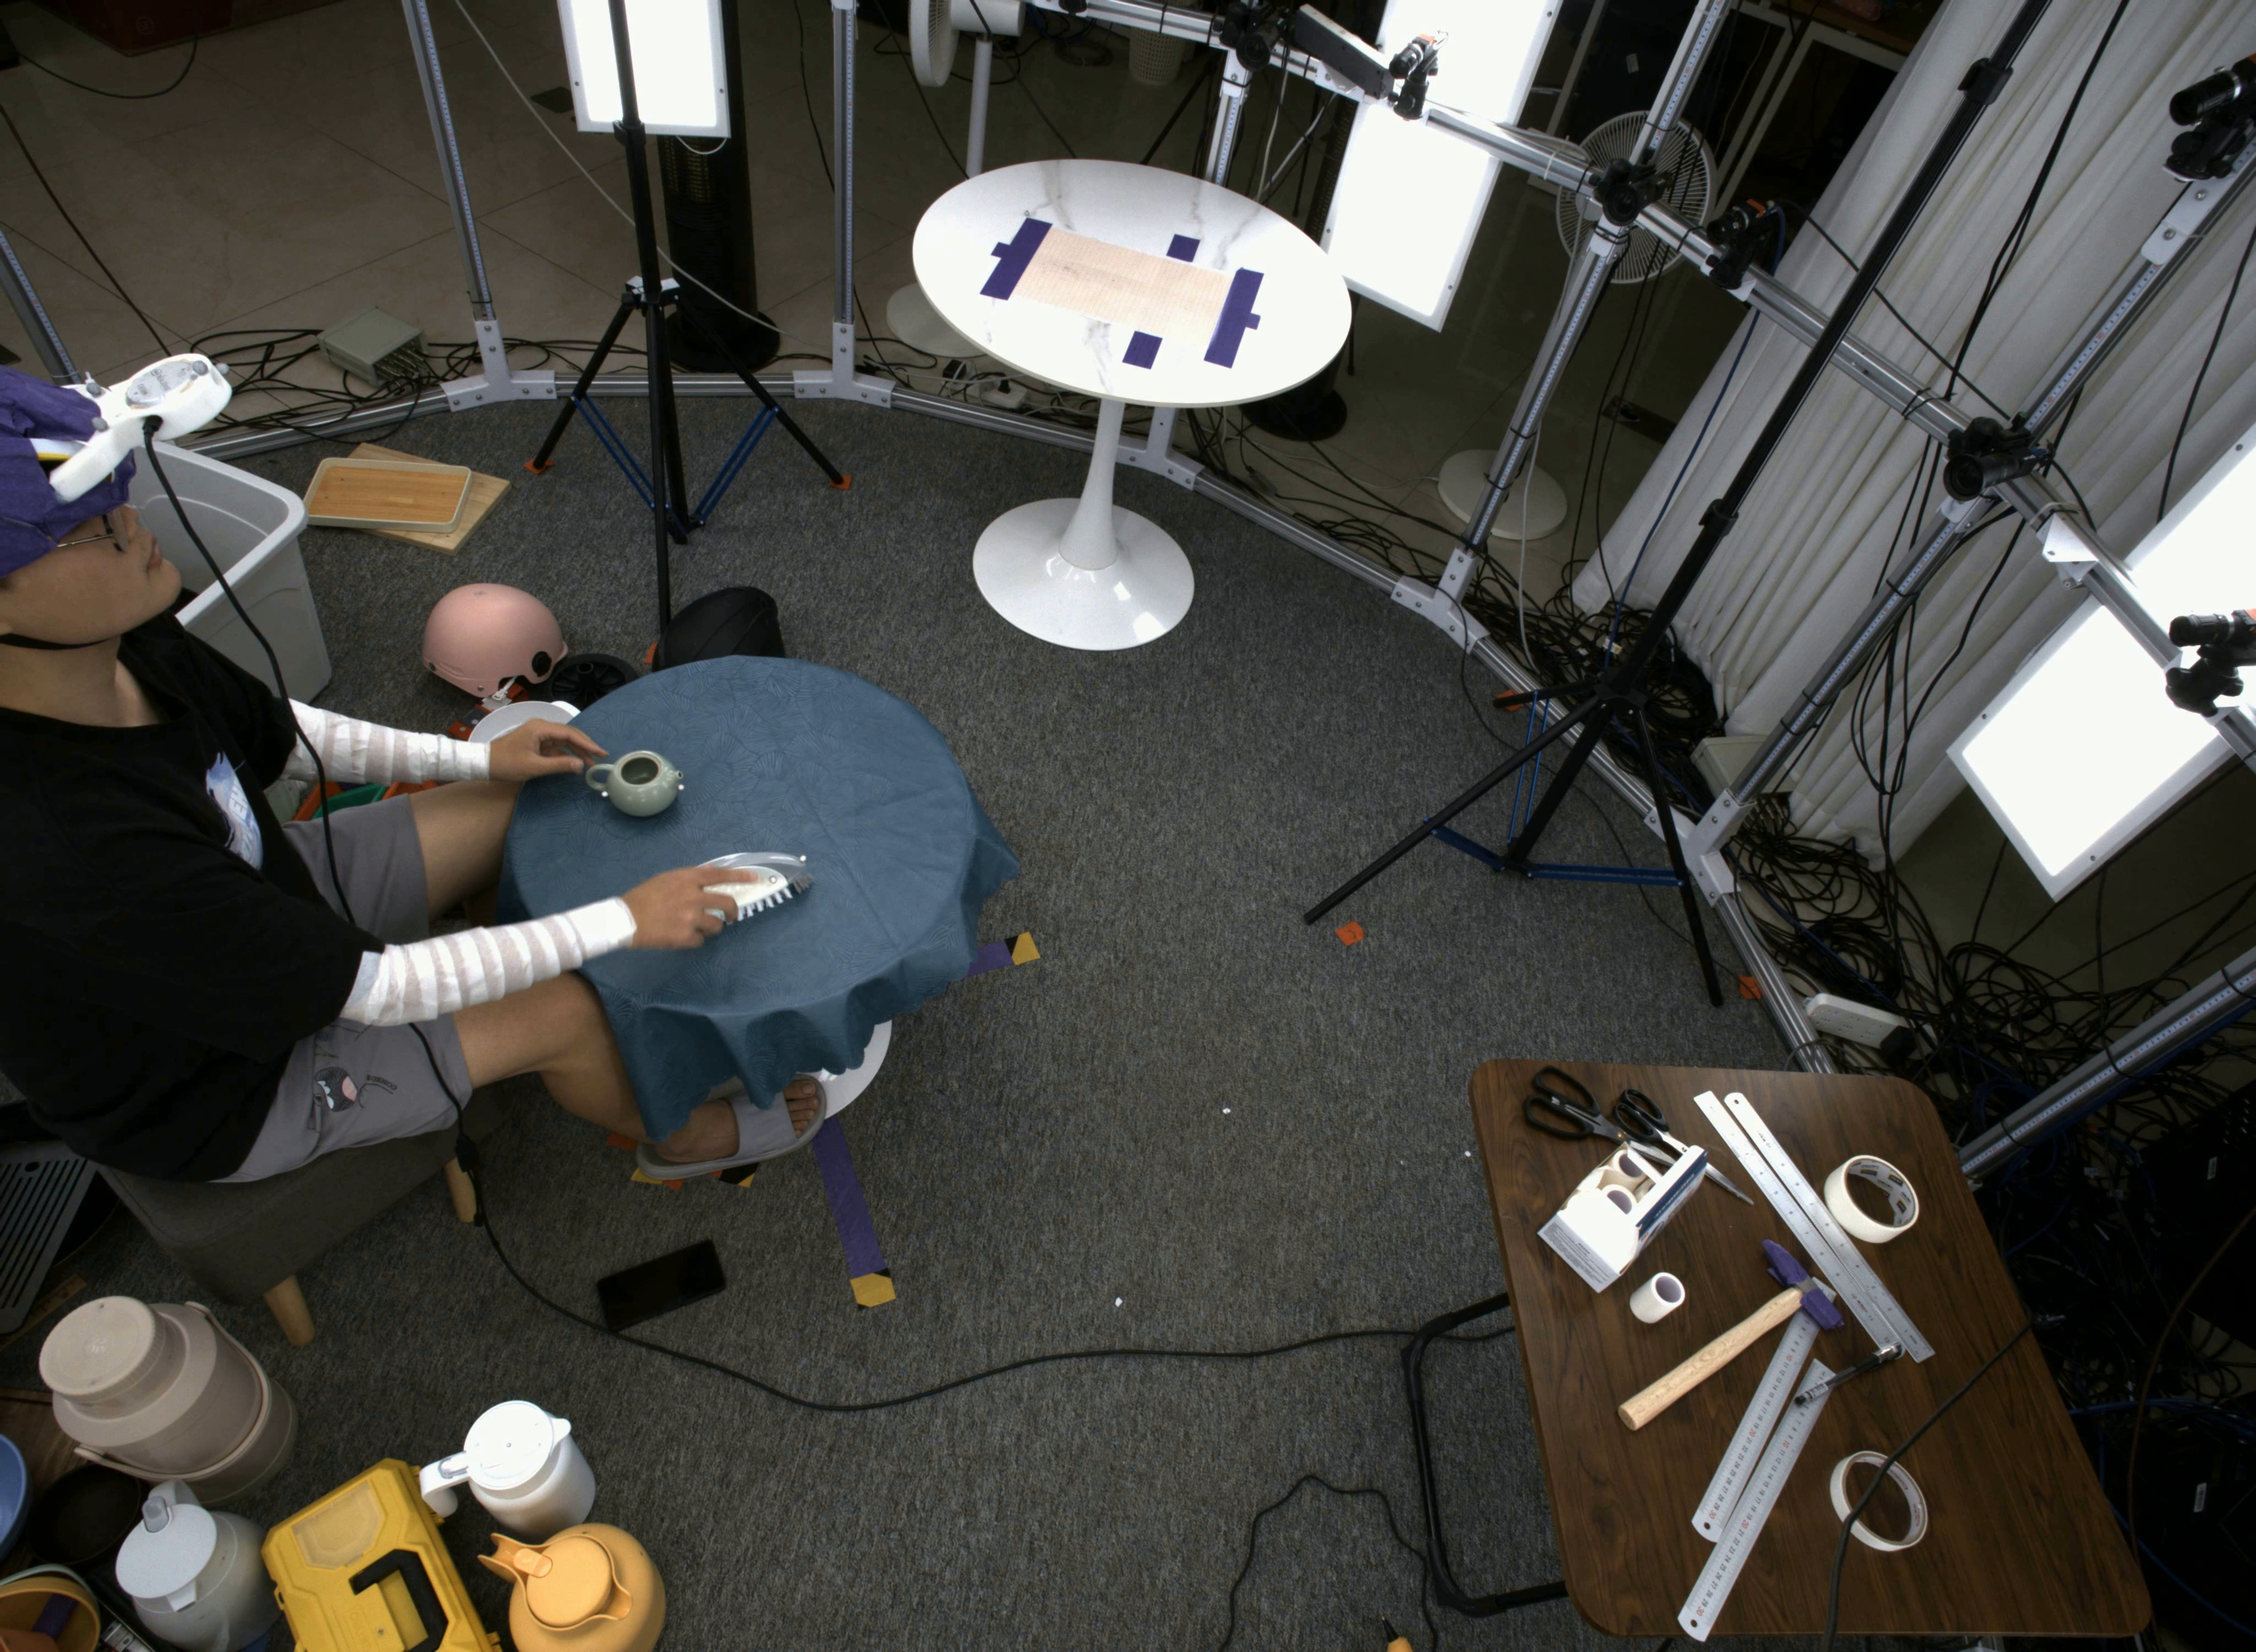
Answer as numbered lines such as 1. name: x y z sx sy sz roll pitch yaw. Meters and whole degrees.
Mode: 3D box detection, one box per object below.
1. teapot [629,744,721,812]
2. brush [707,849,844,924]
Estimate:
1. teapot: -0.600 -0.066 1.701 0.128 0.062 0.090 10 54 -5
2. brush: -0.442 0.059 1.627 0.176 0.096 0.060 -14 60 -24
